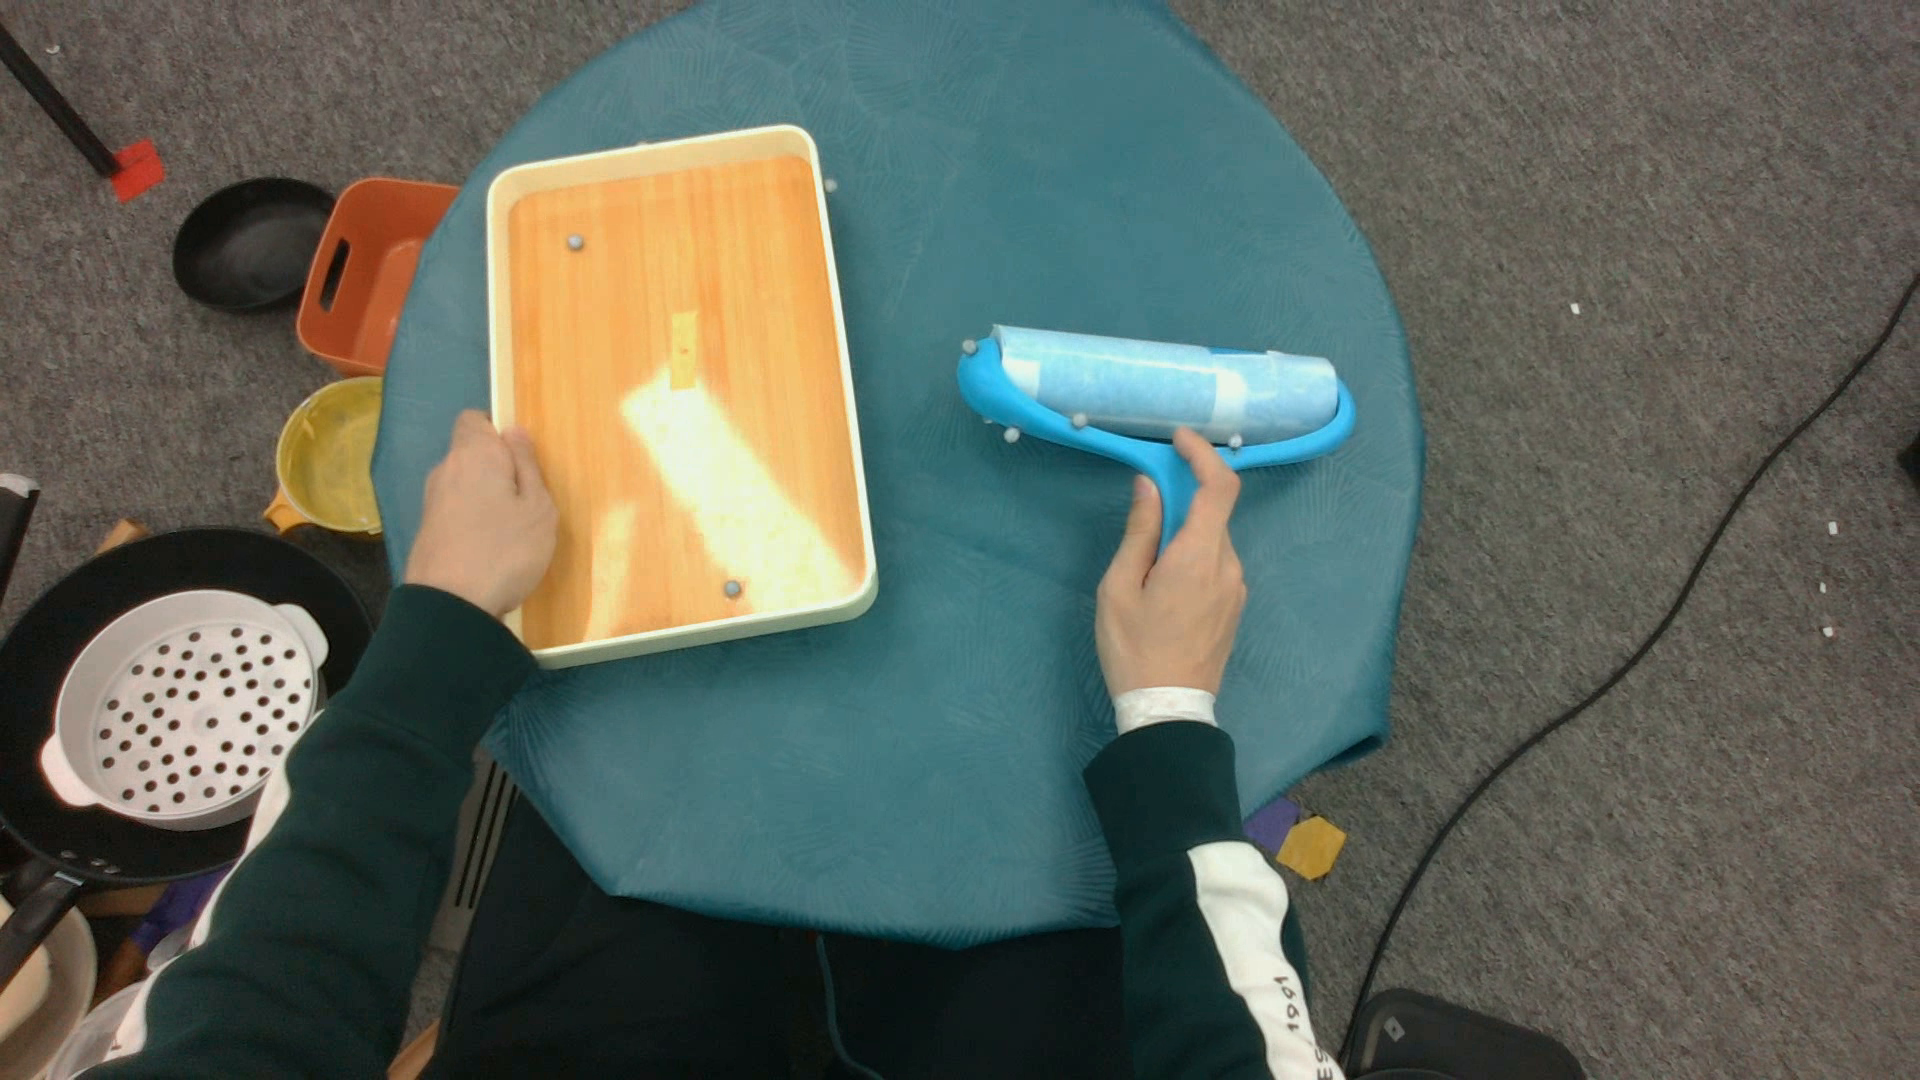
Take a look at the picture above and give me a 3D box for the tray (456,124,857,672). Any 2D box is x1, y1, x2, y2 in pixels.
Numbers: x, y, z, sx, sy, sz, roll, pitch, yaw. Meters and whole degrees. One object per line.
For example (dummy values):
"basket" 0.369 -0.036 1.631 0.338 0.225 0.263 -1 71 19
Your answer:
"tray" -0.170 -0.087 0.749 0.191 0.027 0.301 -10 68 -2

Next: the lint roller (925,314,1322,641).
"lint roller" 0.100 -0.039 0.753 0.229 0.067 0.180 -2 73 -16
